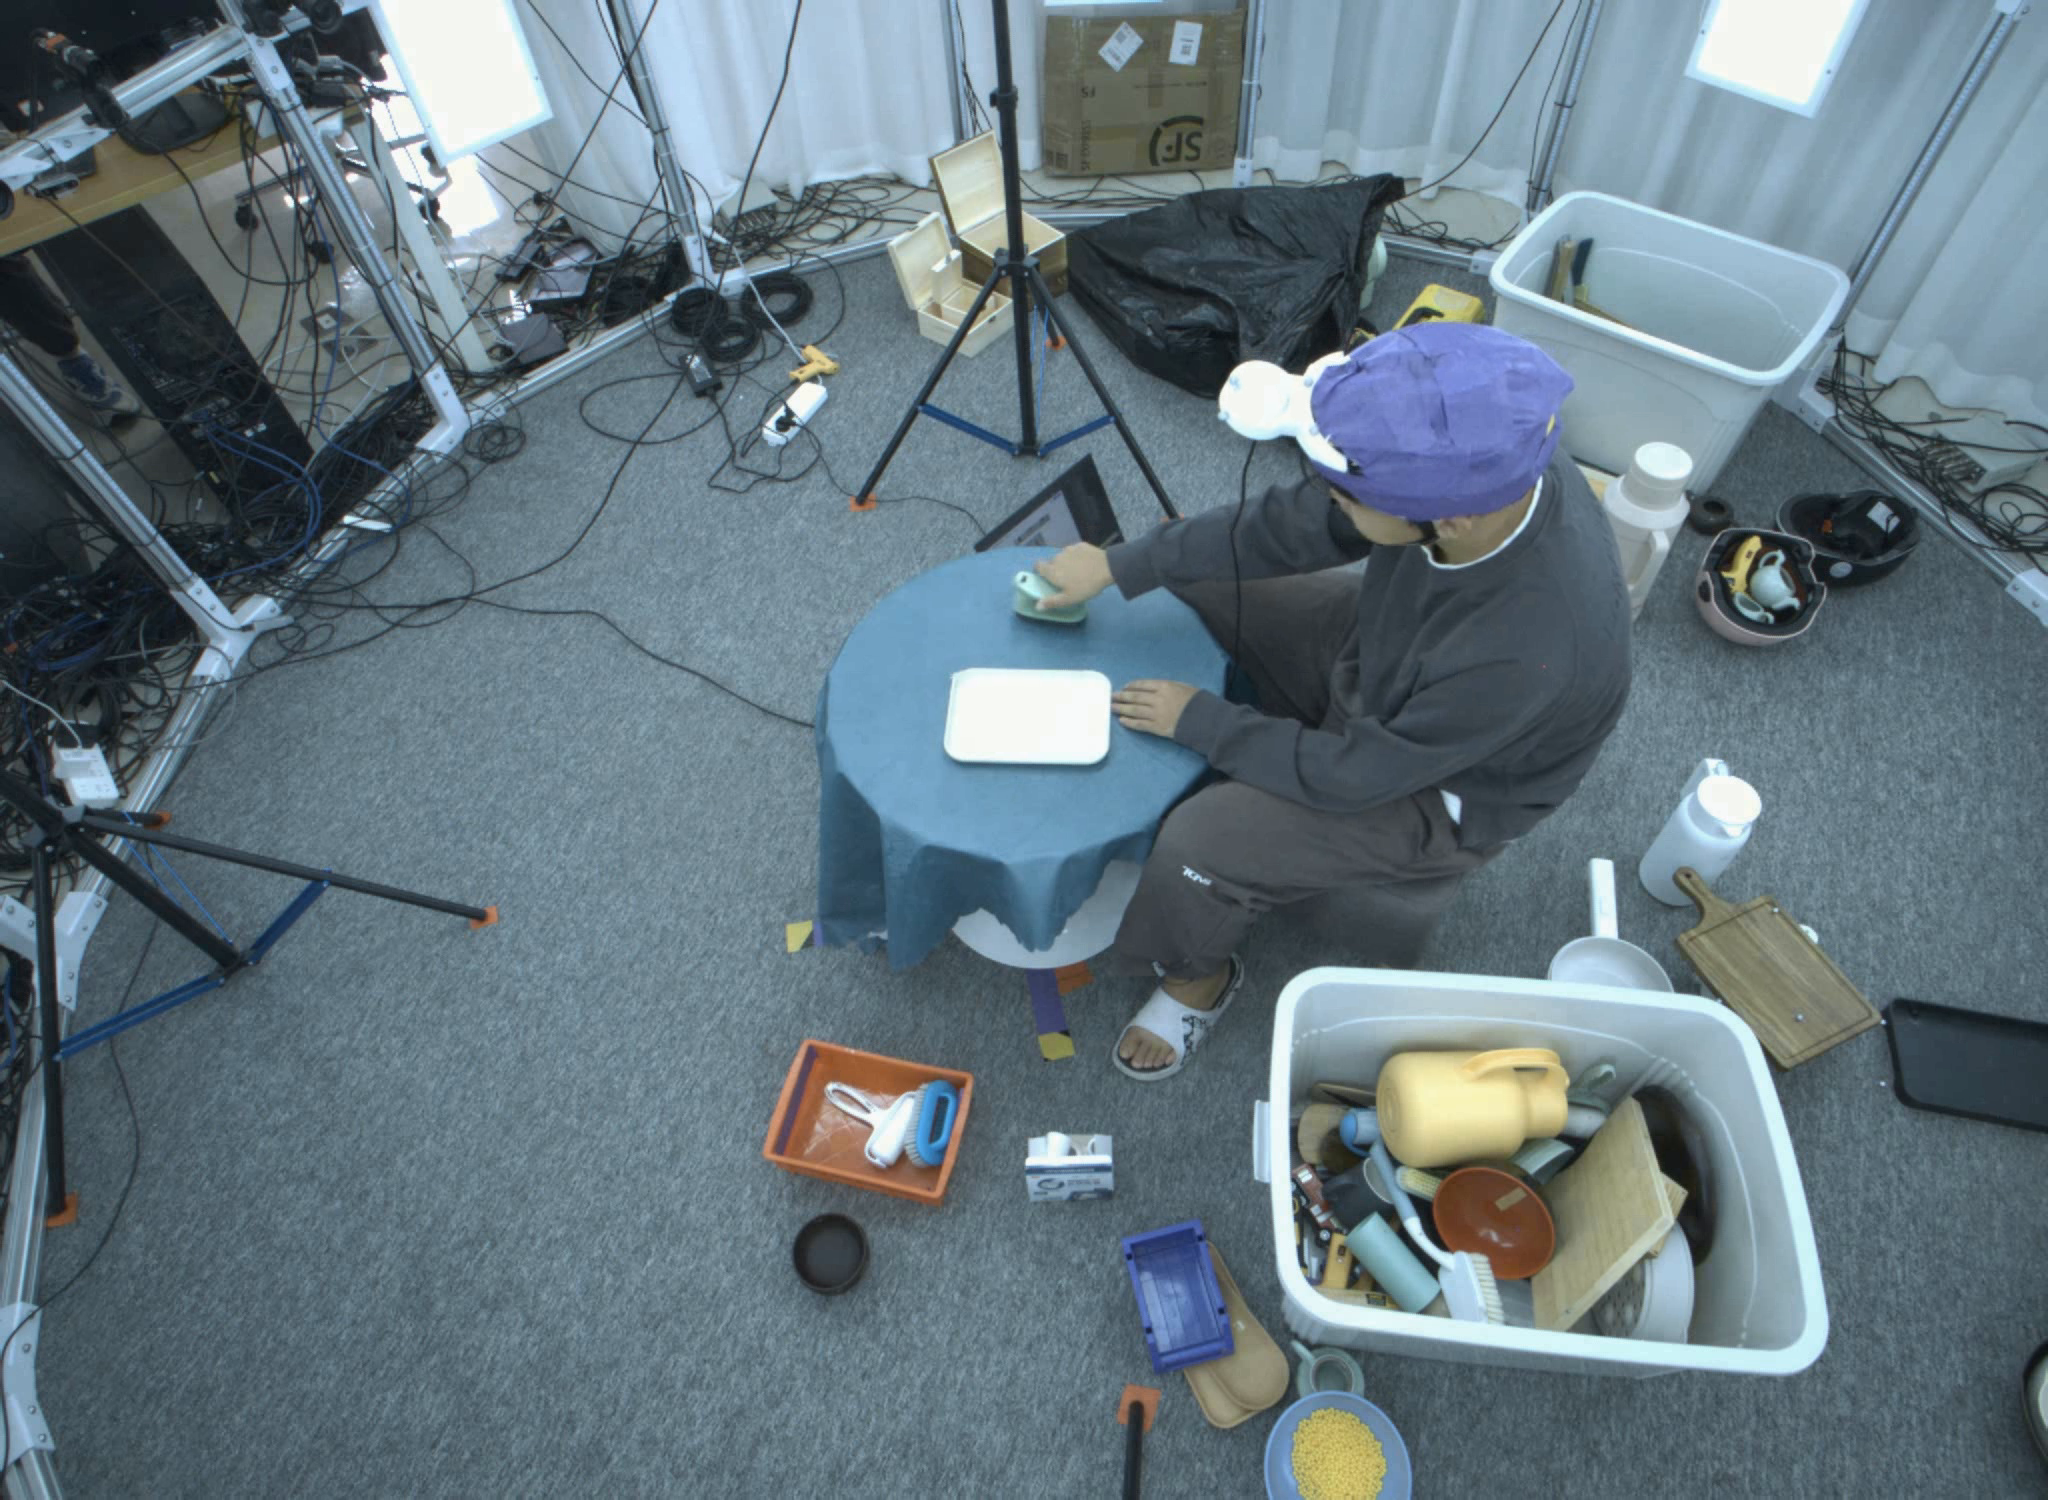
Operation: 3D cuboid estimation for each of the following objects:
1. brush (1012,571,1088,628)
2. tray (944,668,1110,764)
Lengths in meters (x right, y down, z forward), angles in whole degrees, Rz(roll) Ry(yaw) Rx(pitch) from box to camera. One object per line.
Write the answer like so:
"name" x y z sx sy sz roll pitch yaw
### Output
"brush" 0.038 -0.231 1.918 0.123 0.076 0.059 17 57 -3
"tray" 0.006 -0.050 1.812 0.239 0.017 0.170 2 56 3
